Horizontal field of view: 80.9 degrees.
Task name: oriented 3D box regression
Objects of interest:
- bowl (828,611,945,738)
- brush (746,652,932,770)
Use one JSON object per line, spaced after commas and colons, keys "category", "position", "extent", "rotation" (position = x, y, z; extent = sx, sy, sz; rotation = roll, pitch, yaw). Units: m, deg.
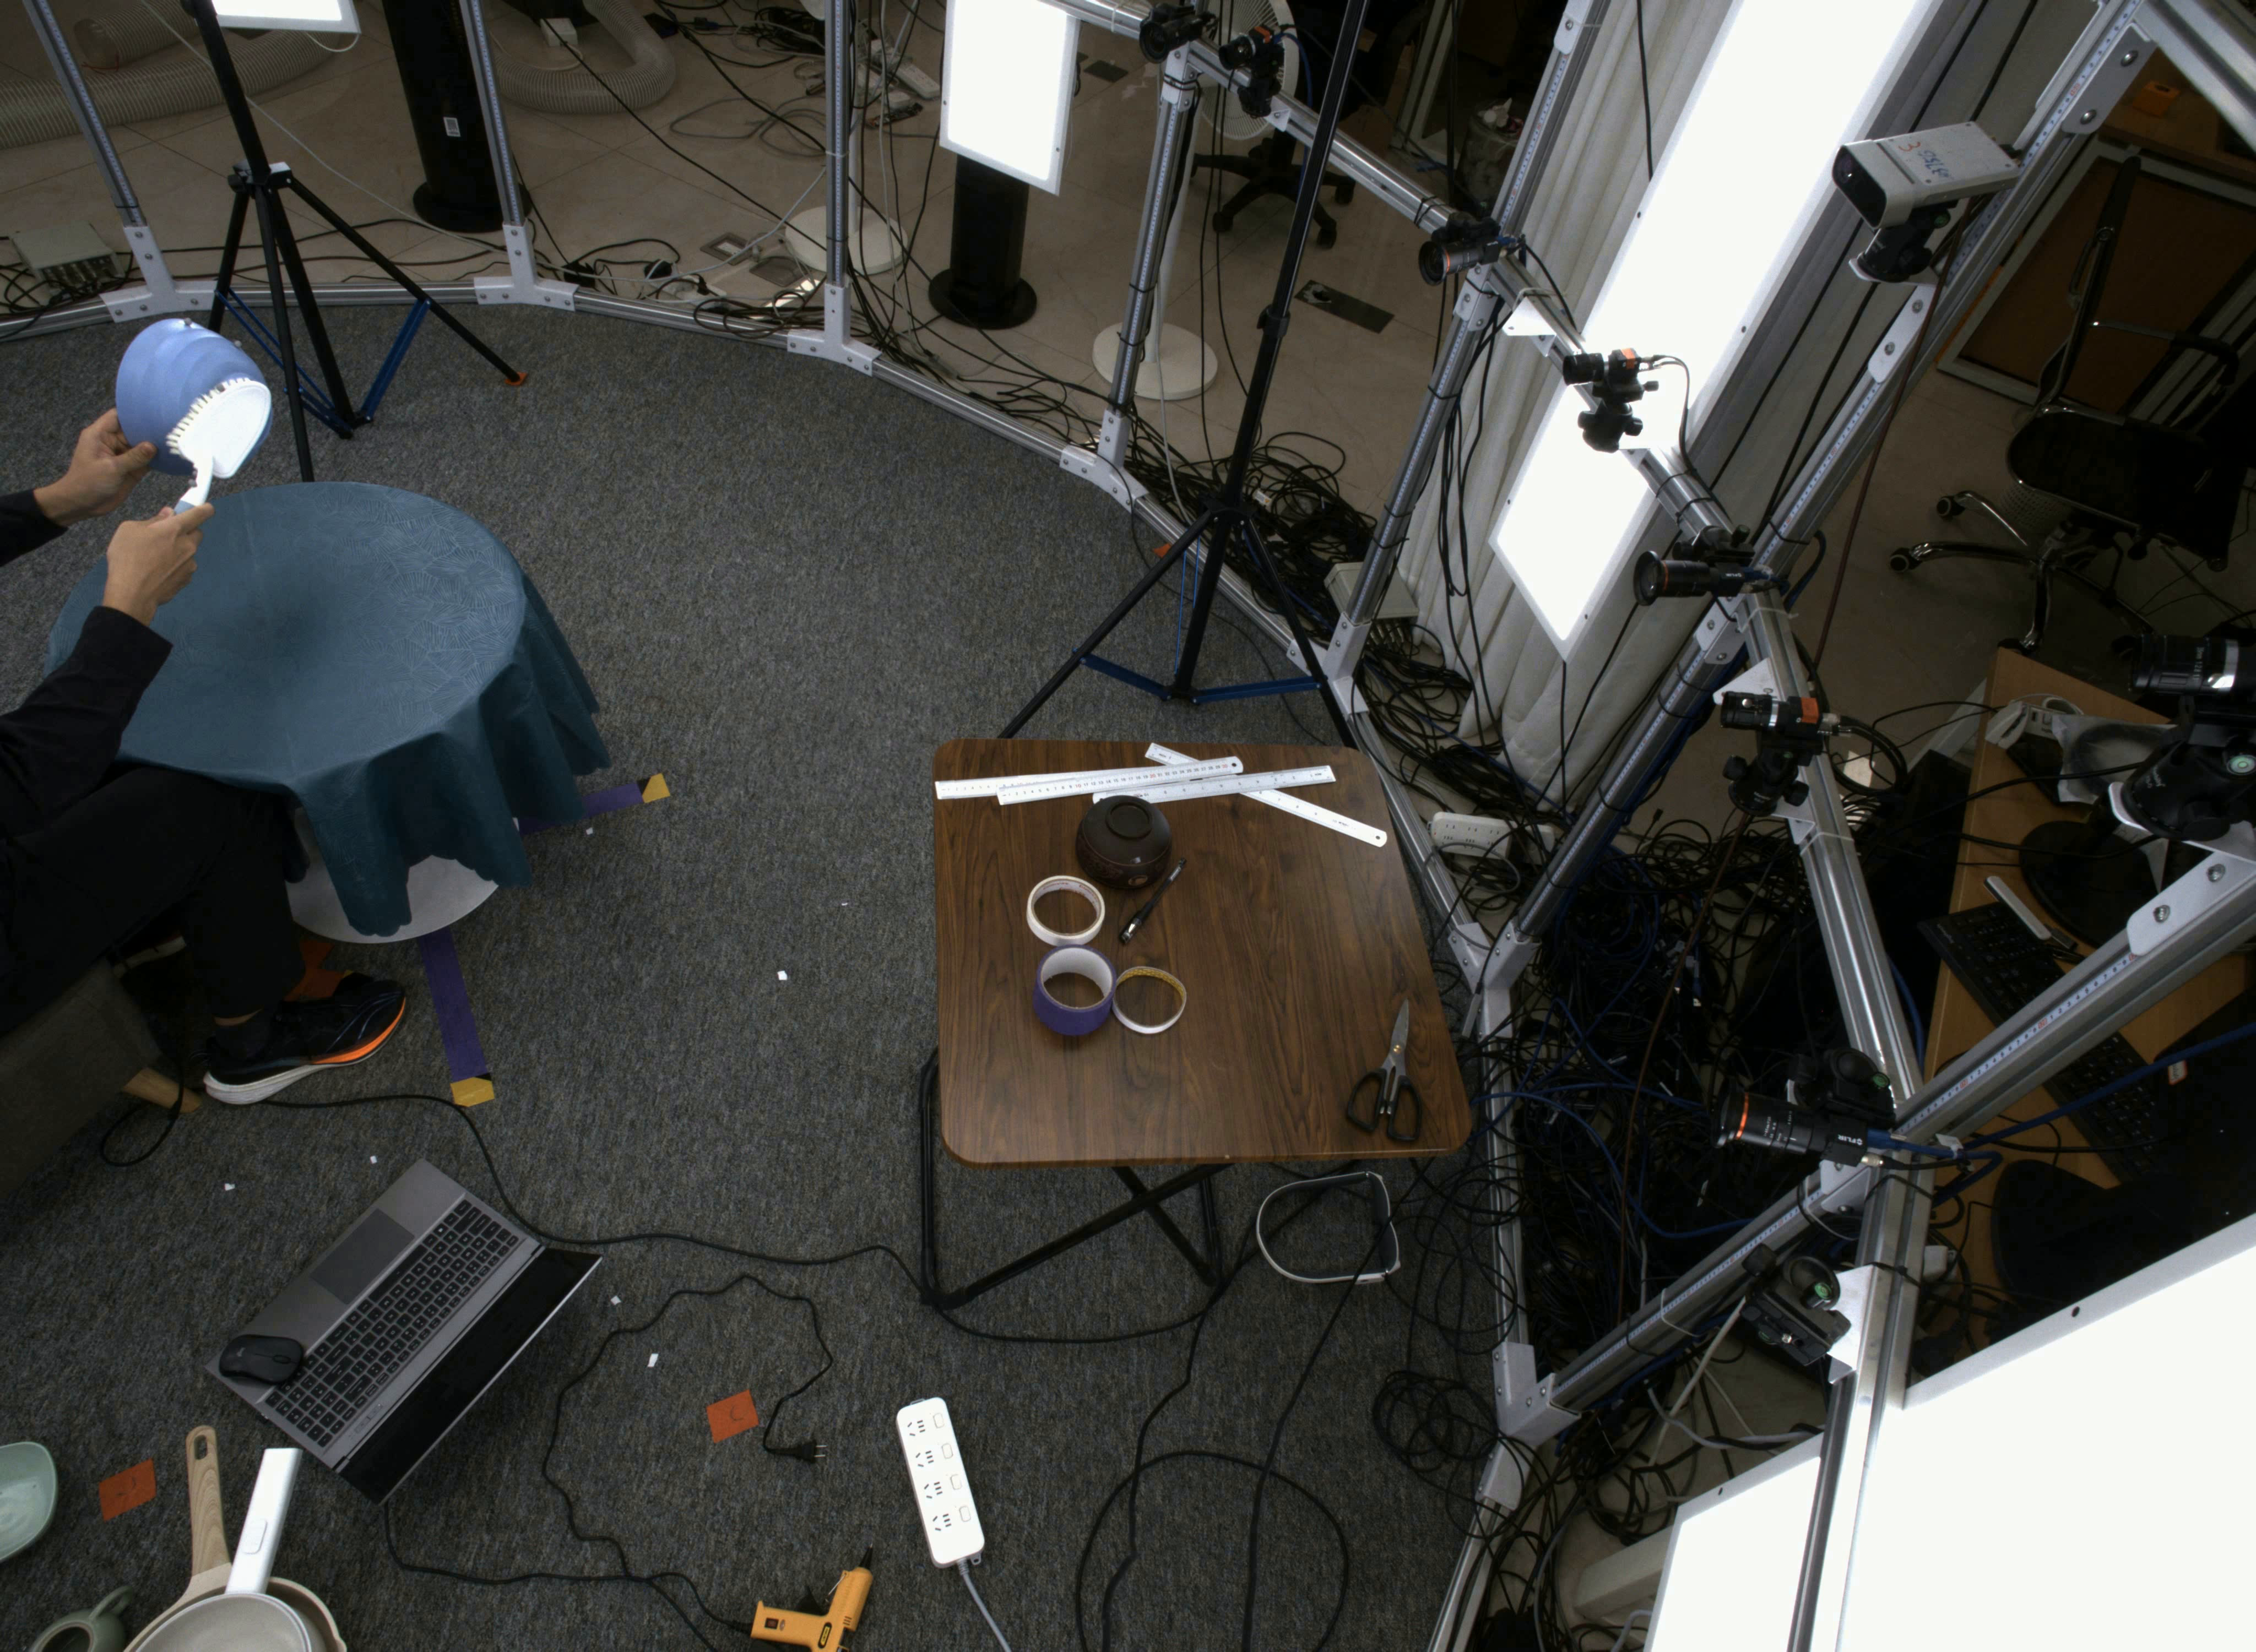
{"category": "bowl", "position": [-0.357, -0.223, 2.014], "extent": [0.092, 0.202, 0.199], "rotation": [23, 28, 39]}
{"category": "brush", "position": [-0.426, -0.169, 1.885], "extent": [0.326, 0.086, 0.081], "rotation": [-36, 69, -29]}
